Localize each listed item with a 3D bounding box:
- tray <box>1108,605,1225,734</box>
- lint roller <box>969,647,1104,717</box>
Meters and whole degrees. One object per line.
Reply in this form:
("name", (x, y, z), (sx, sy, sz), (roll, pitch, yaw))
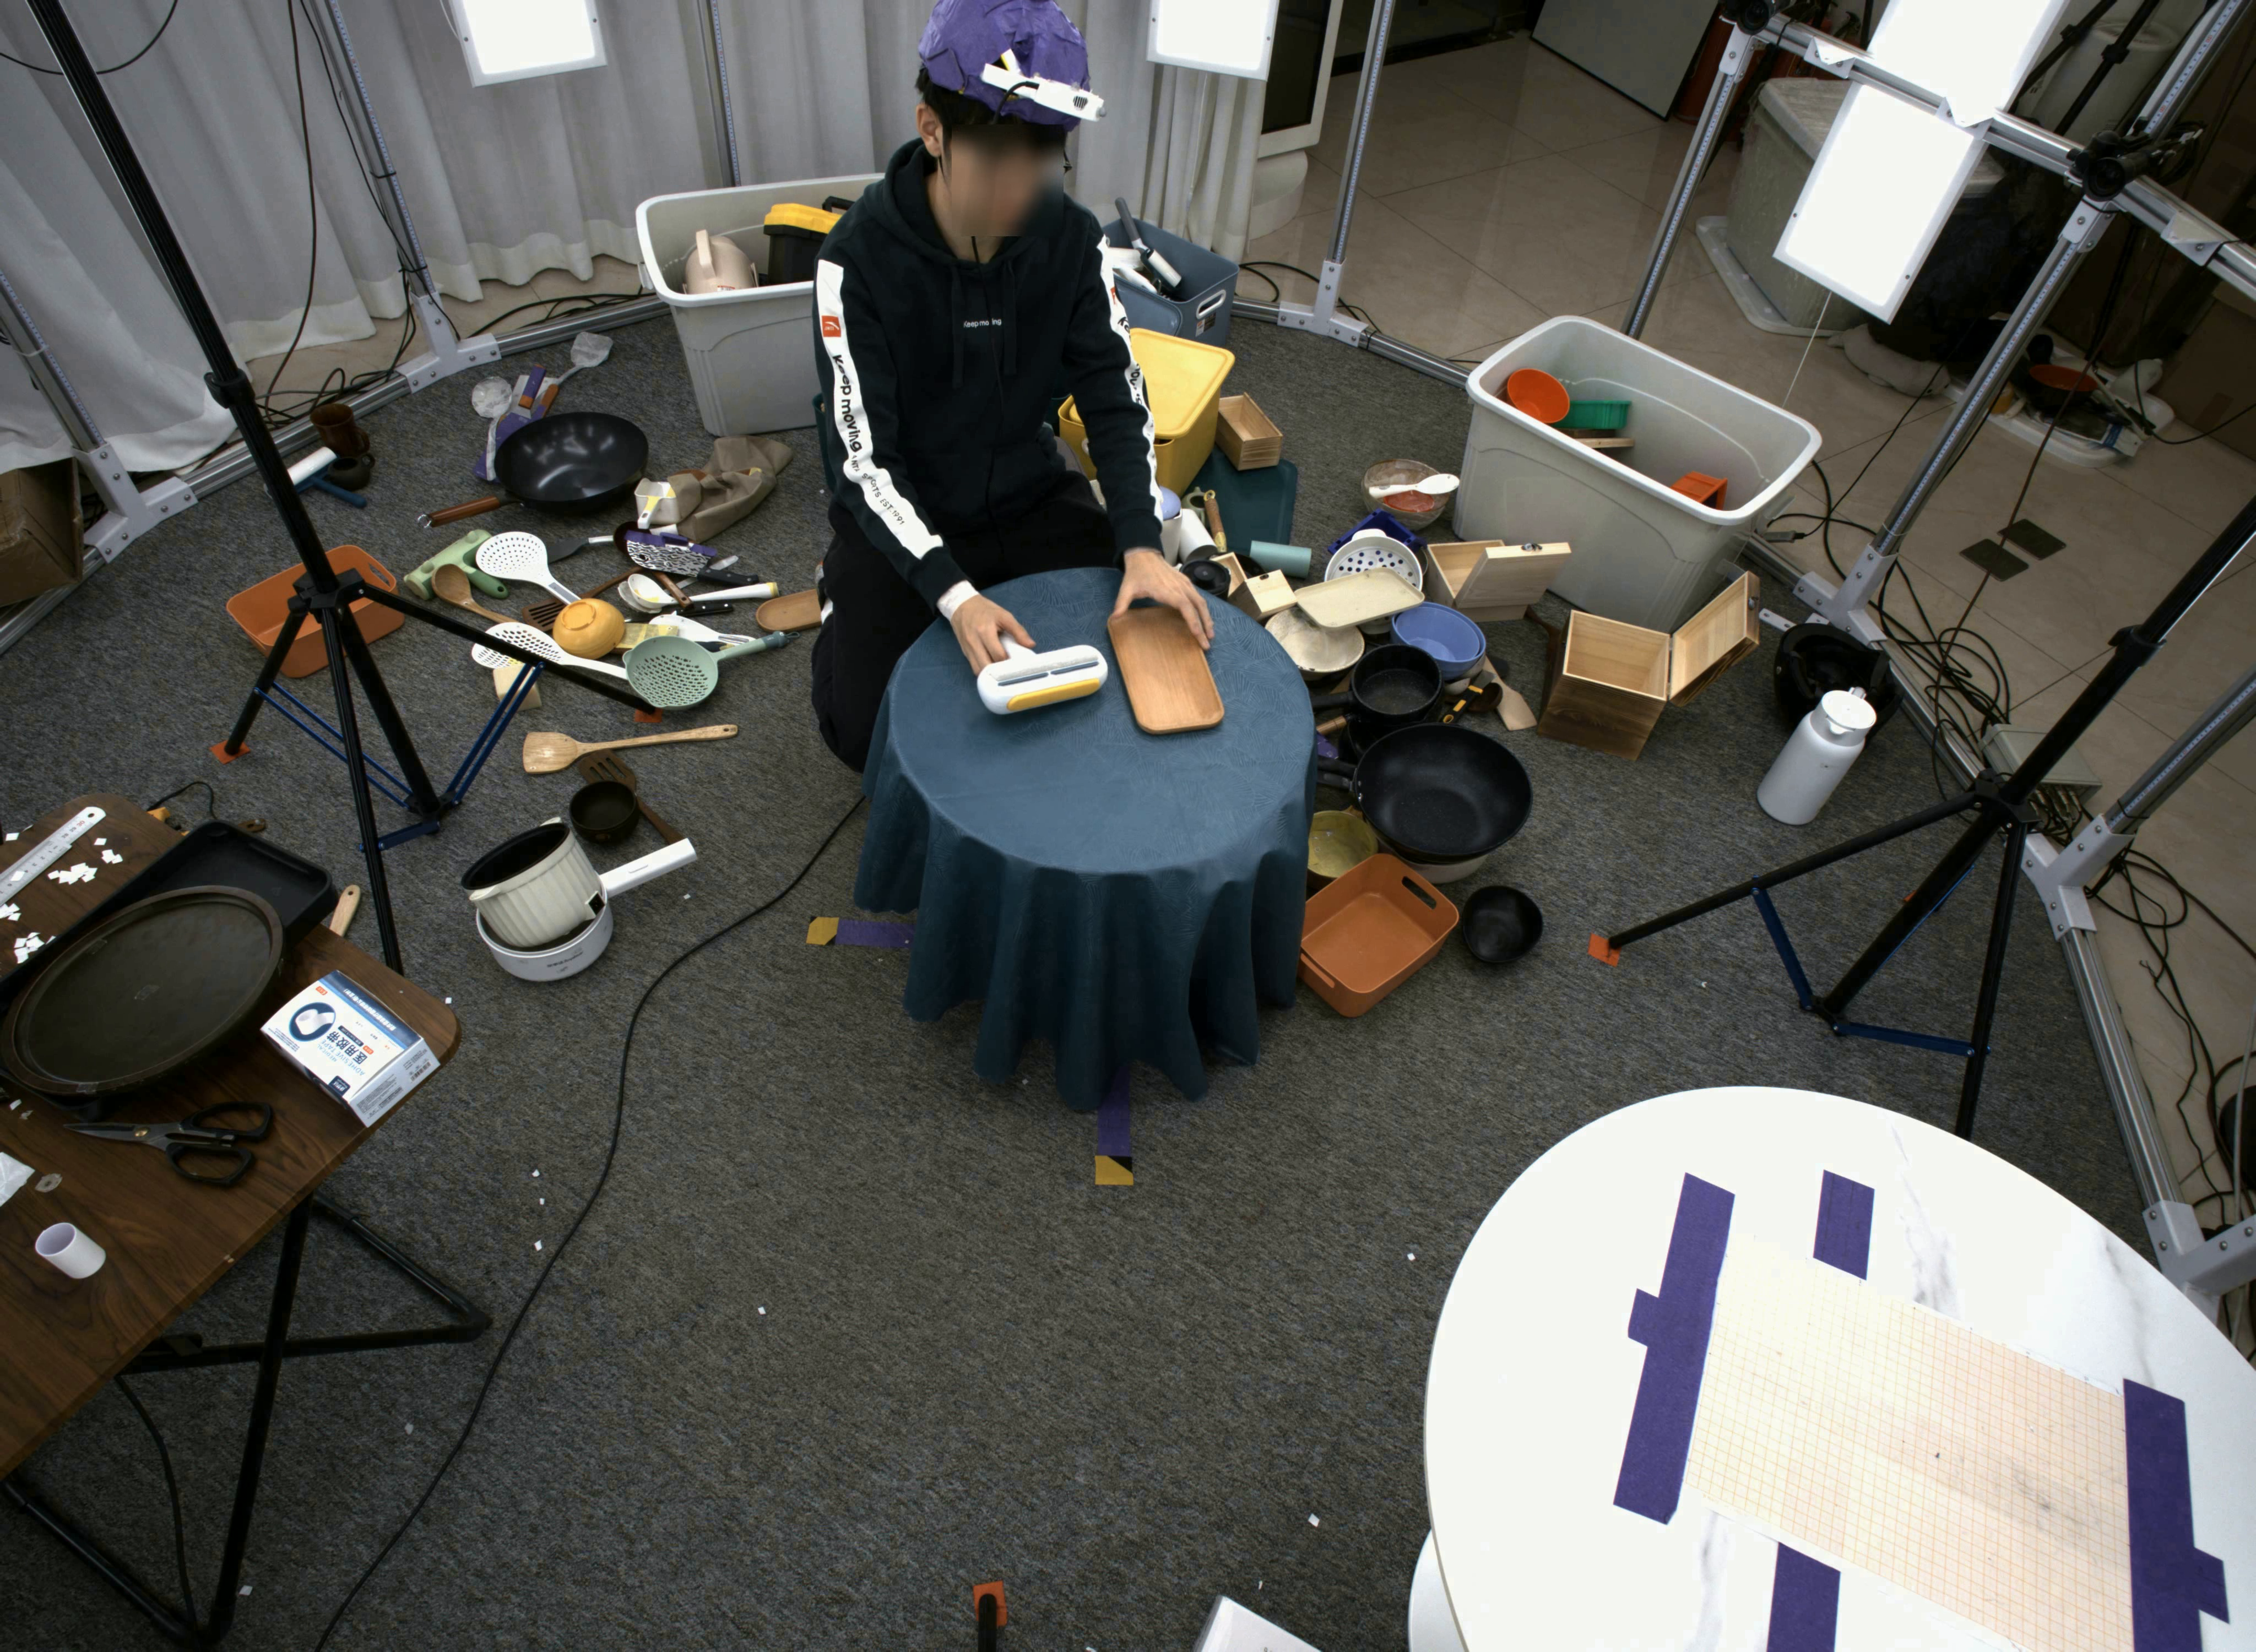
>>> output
("tray", (0.053, -0.229, 1.860), (0.130, 0.022, 0.257), (-6, 49, -11))
("lint roller", (-0.151, -0.222, 1.831), (0.193, 0.072, 0.196), (-13, 37, -23))
